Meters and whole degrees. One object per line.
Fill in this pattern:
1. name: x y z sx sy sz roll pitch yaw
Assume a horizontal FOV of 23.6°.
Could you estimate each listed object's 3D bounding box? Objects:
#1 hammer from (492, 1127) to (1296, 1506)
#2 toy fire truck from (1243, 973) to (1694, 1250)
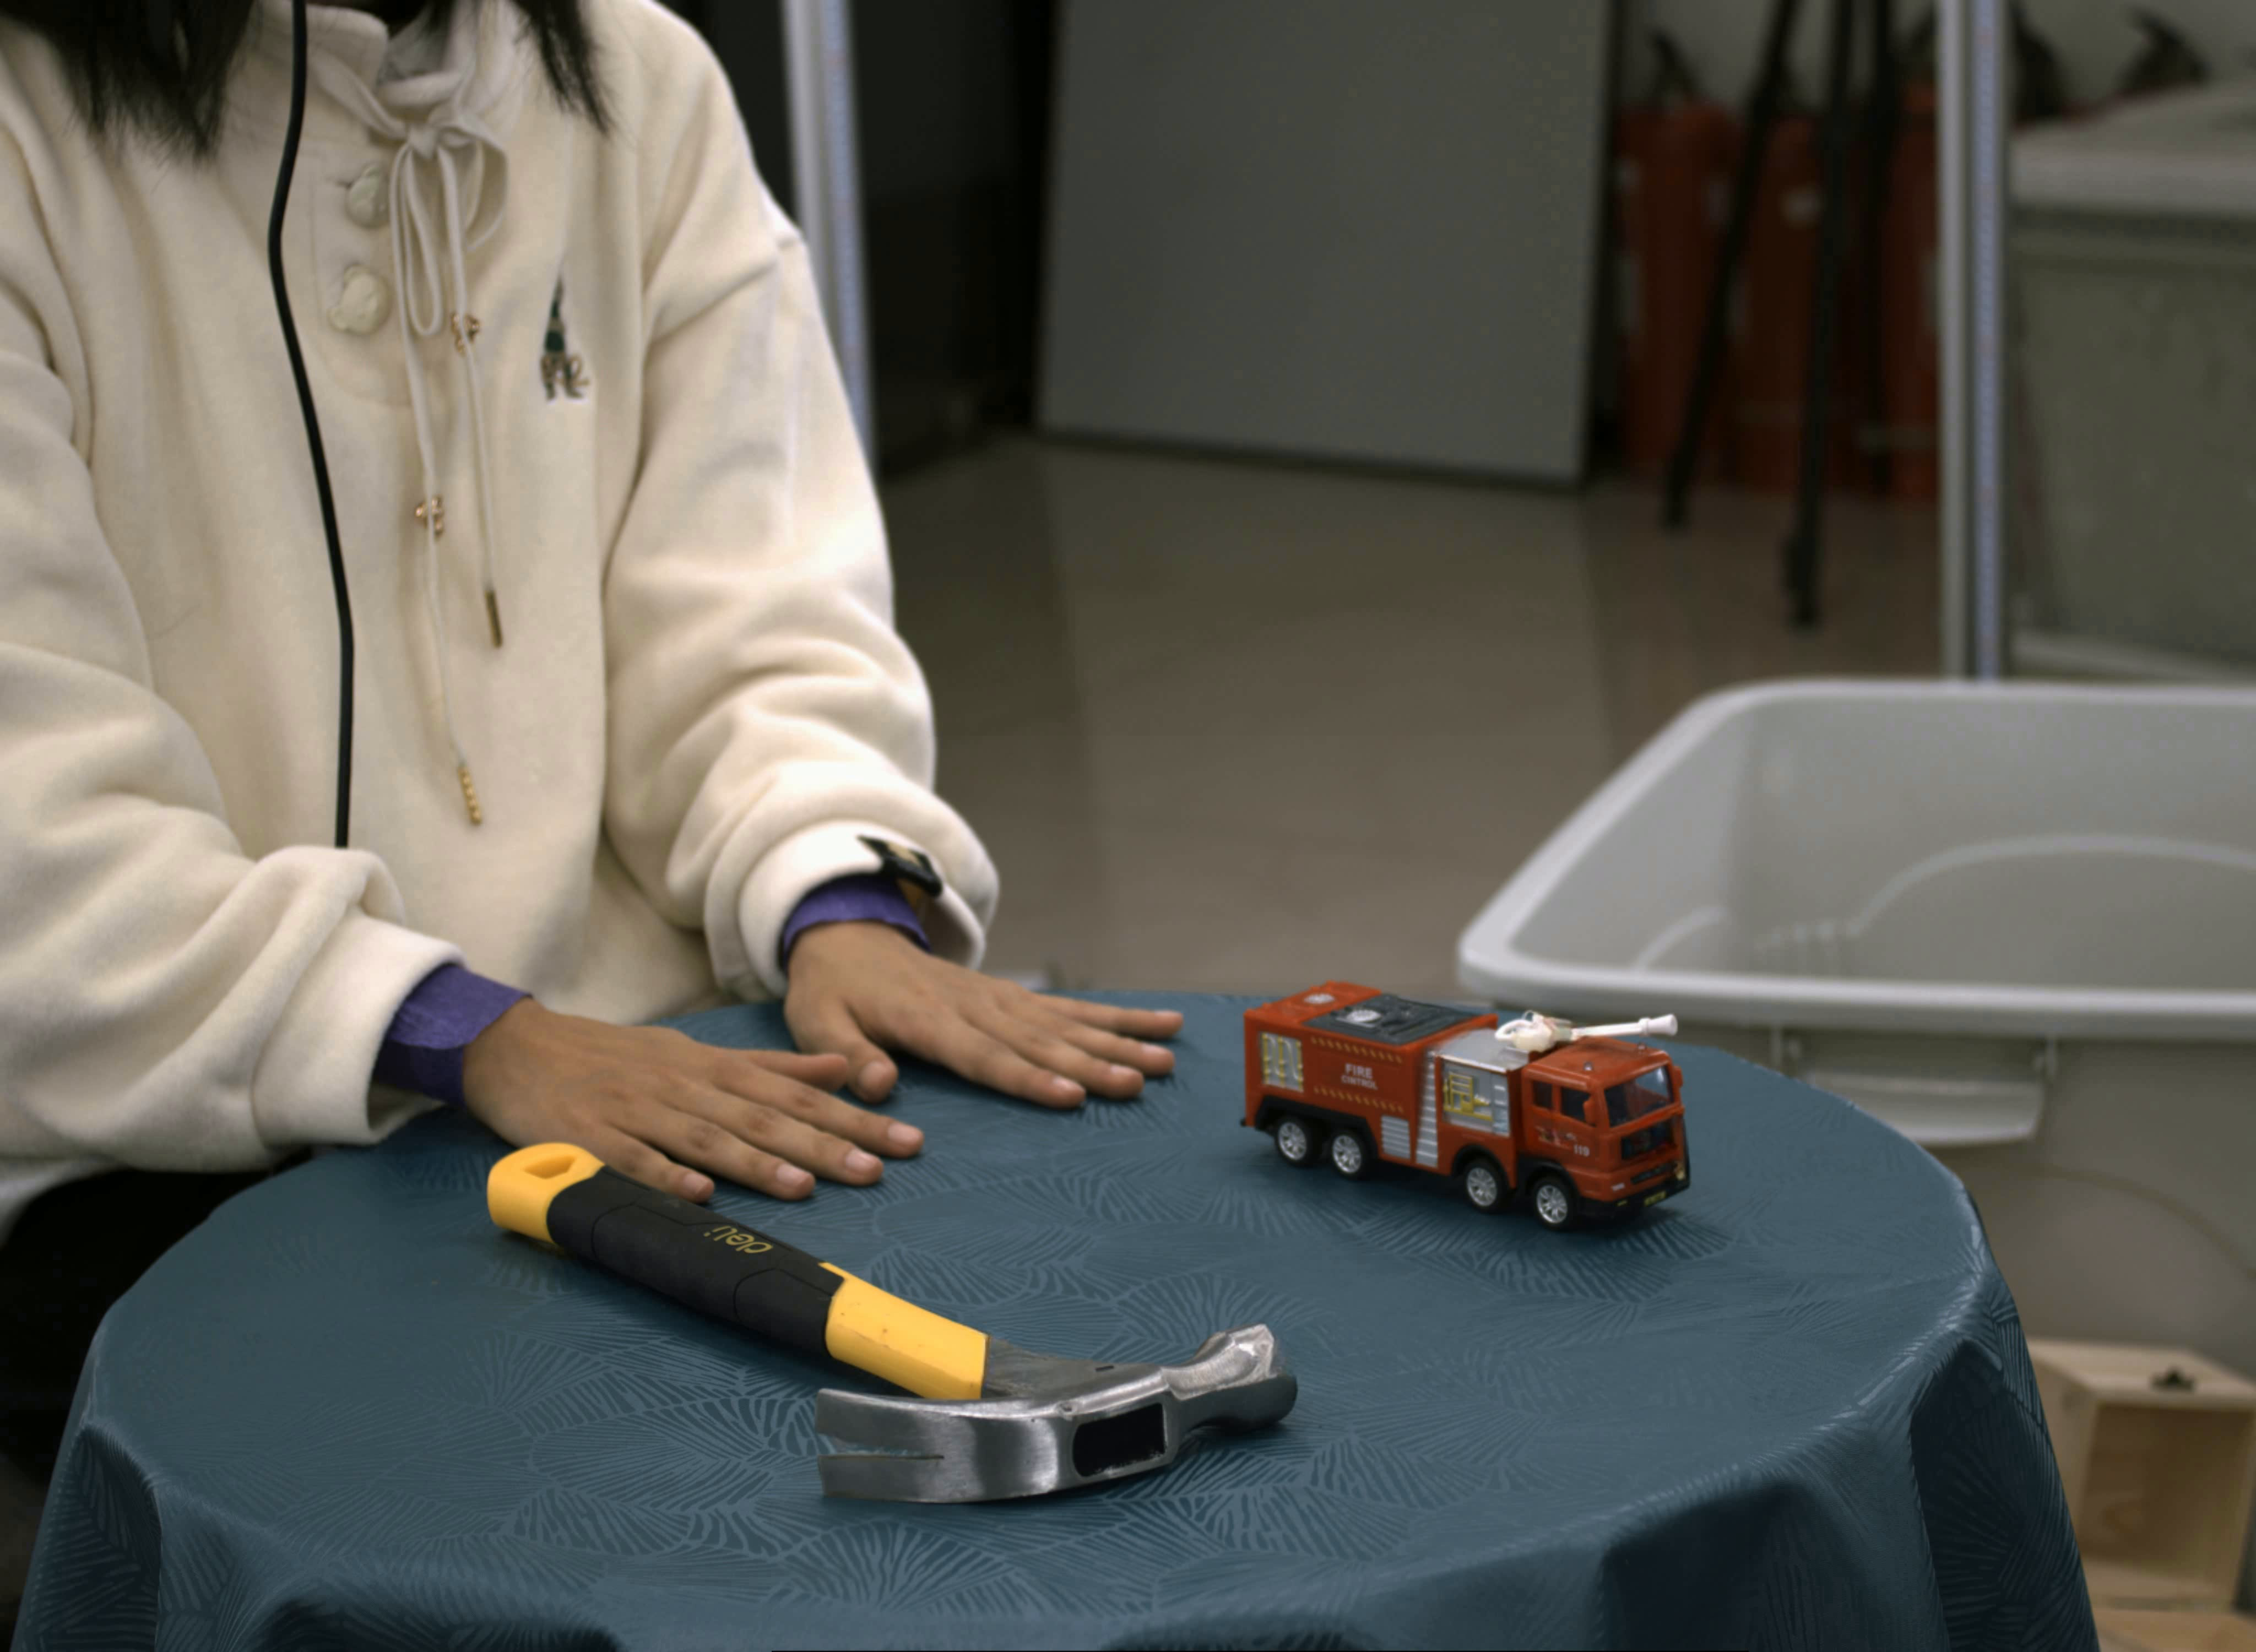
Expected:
1. hammer: -0.098 0.141 1.640 0.128 0.032 0.342 -14 18 -32
2. toy fire truck: 0.109 0.088 1.746 0.053 0.071 0.169 -16 17 -42
